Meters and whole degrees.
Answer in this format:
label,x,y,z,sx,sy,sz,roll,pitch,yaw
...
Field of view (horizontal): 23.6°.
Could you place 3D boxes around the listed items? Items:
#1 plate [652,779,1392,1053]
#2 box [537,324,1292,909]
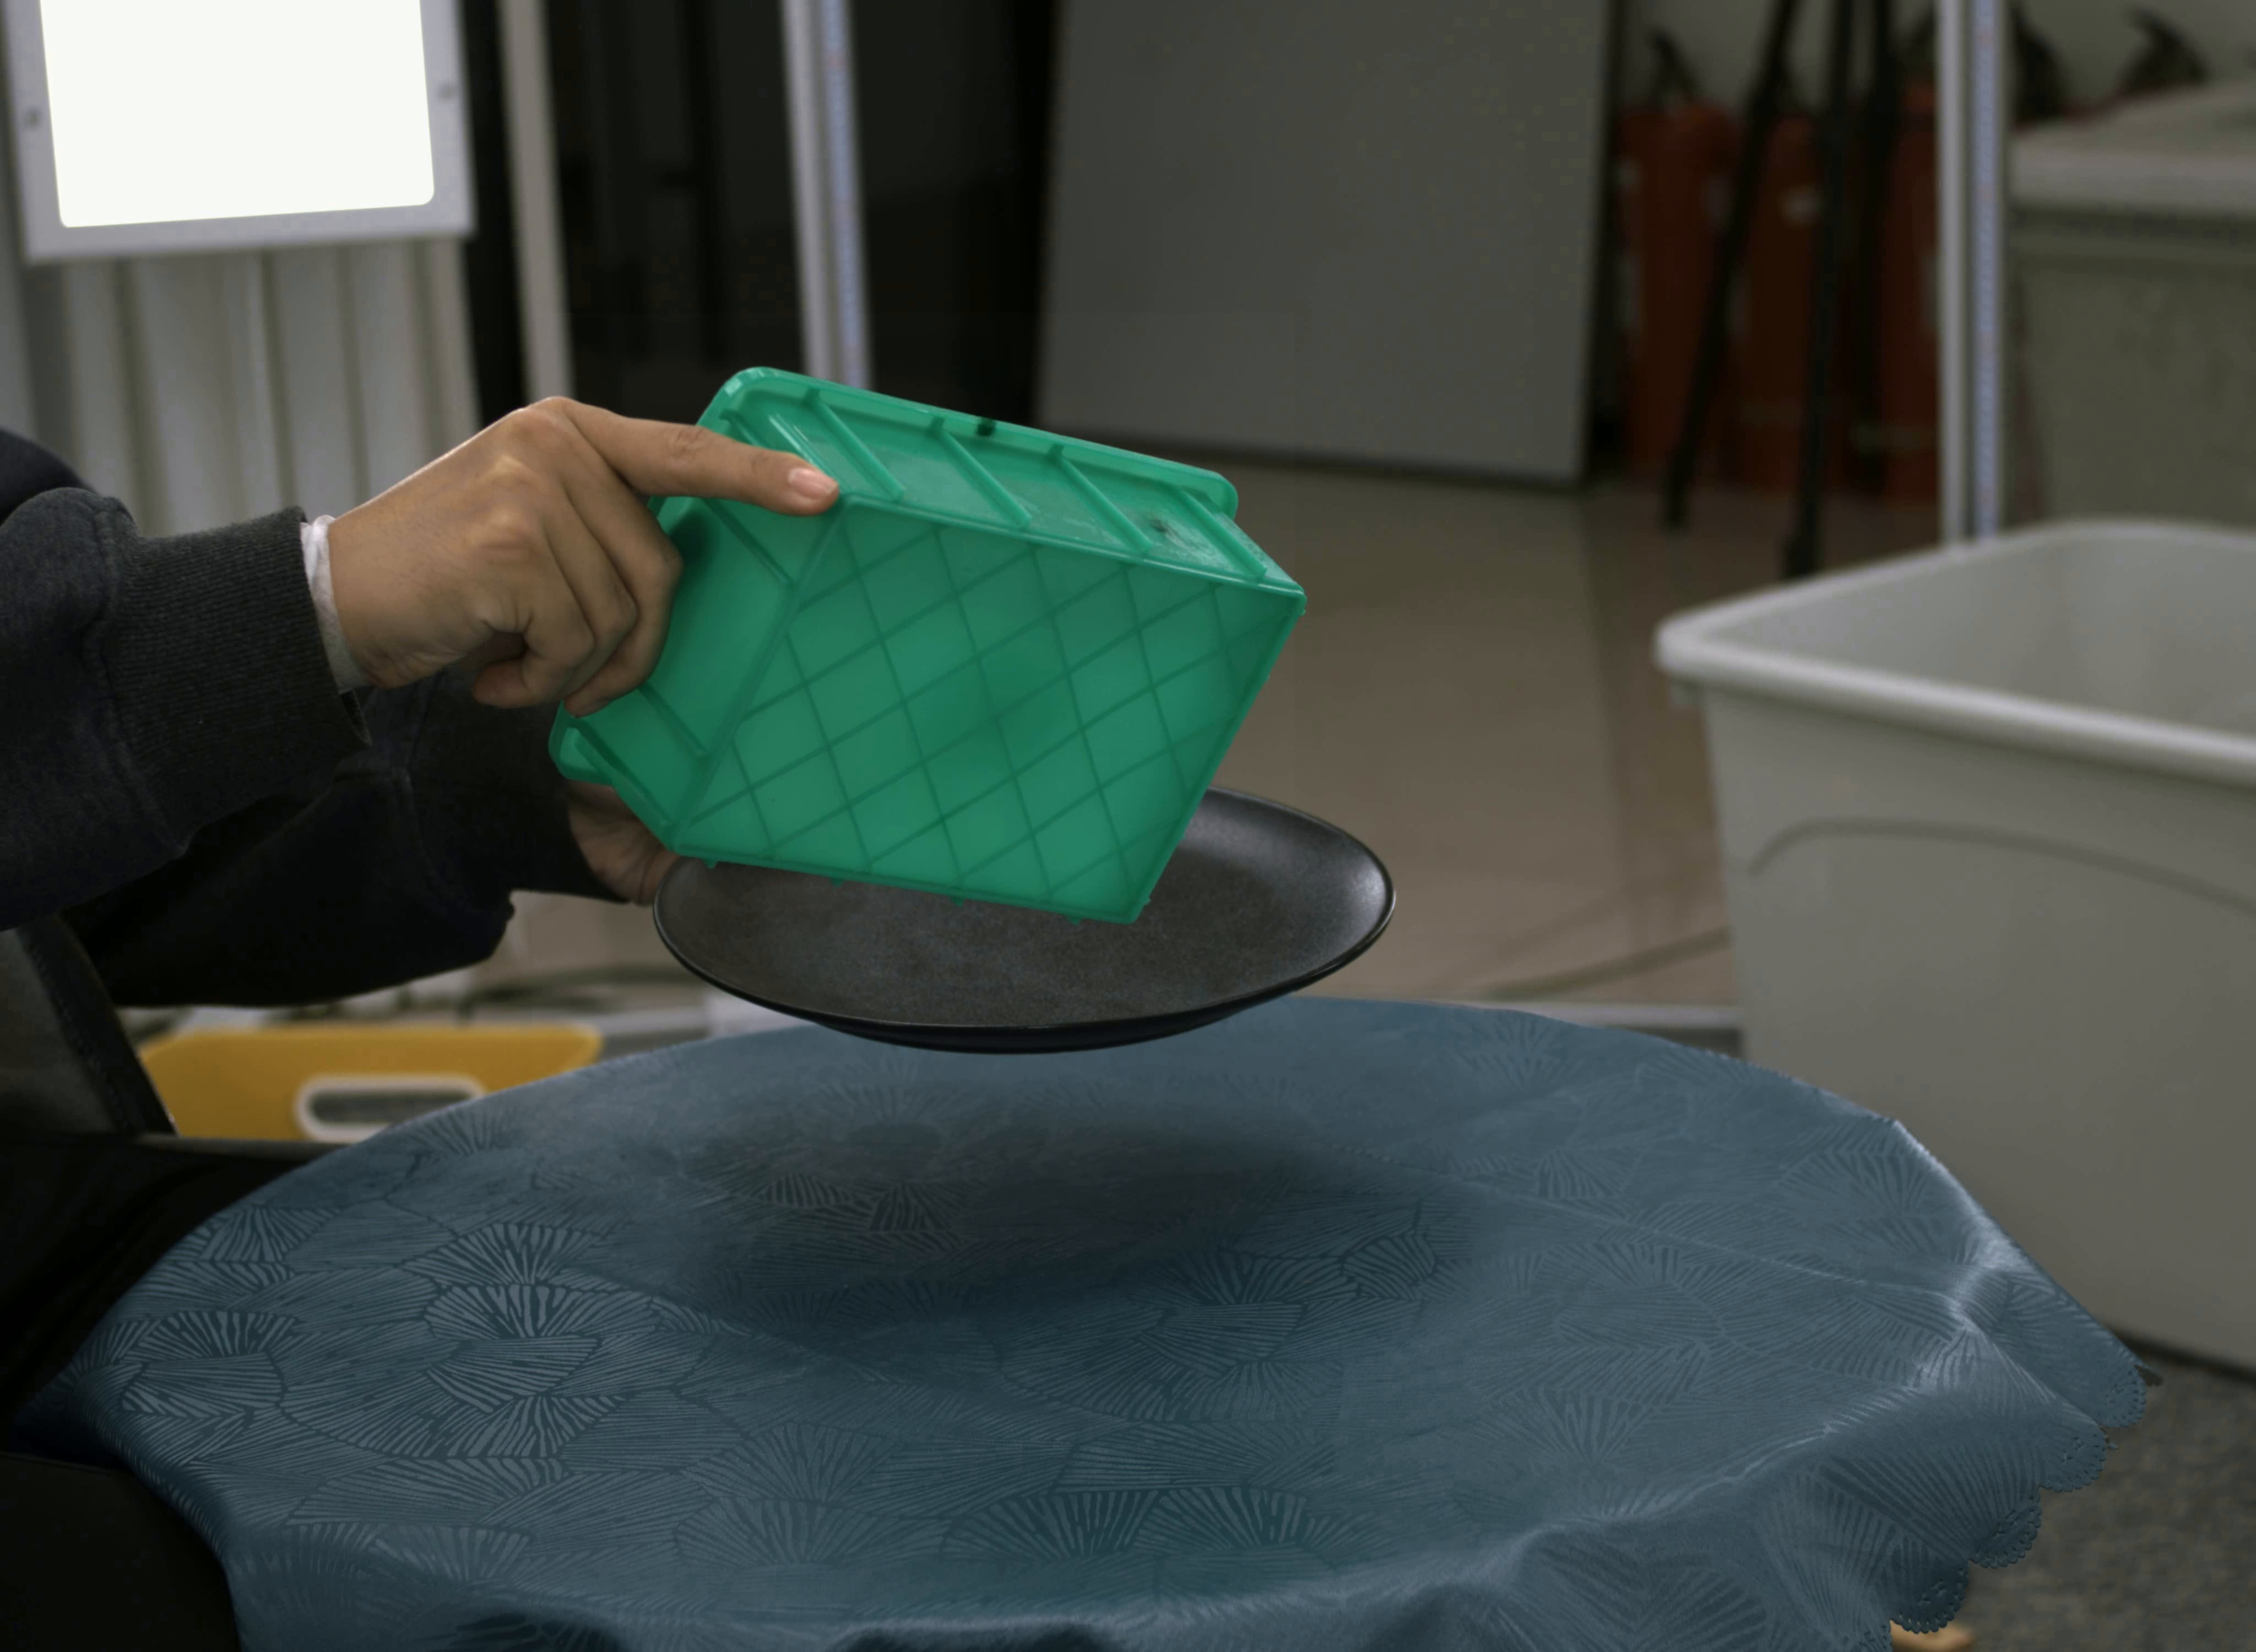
label,x,y,z,sx,sy,sz,roll,pitch,yaw
plate,-0.034,0.030,1.758,0.241,0.023,0.245,-2,20,0
box,-0.055,-0.053,1.555,0.206,0.140,0.066,11,23,-43
